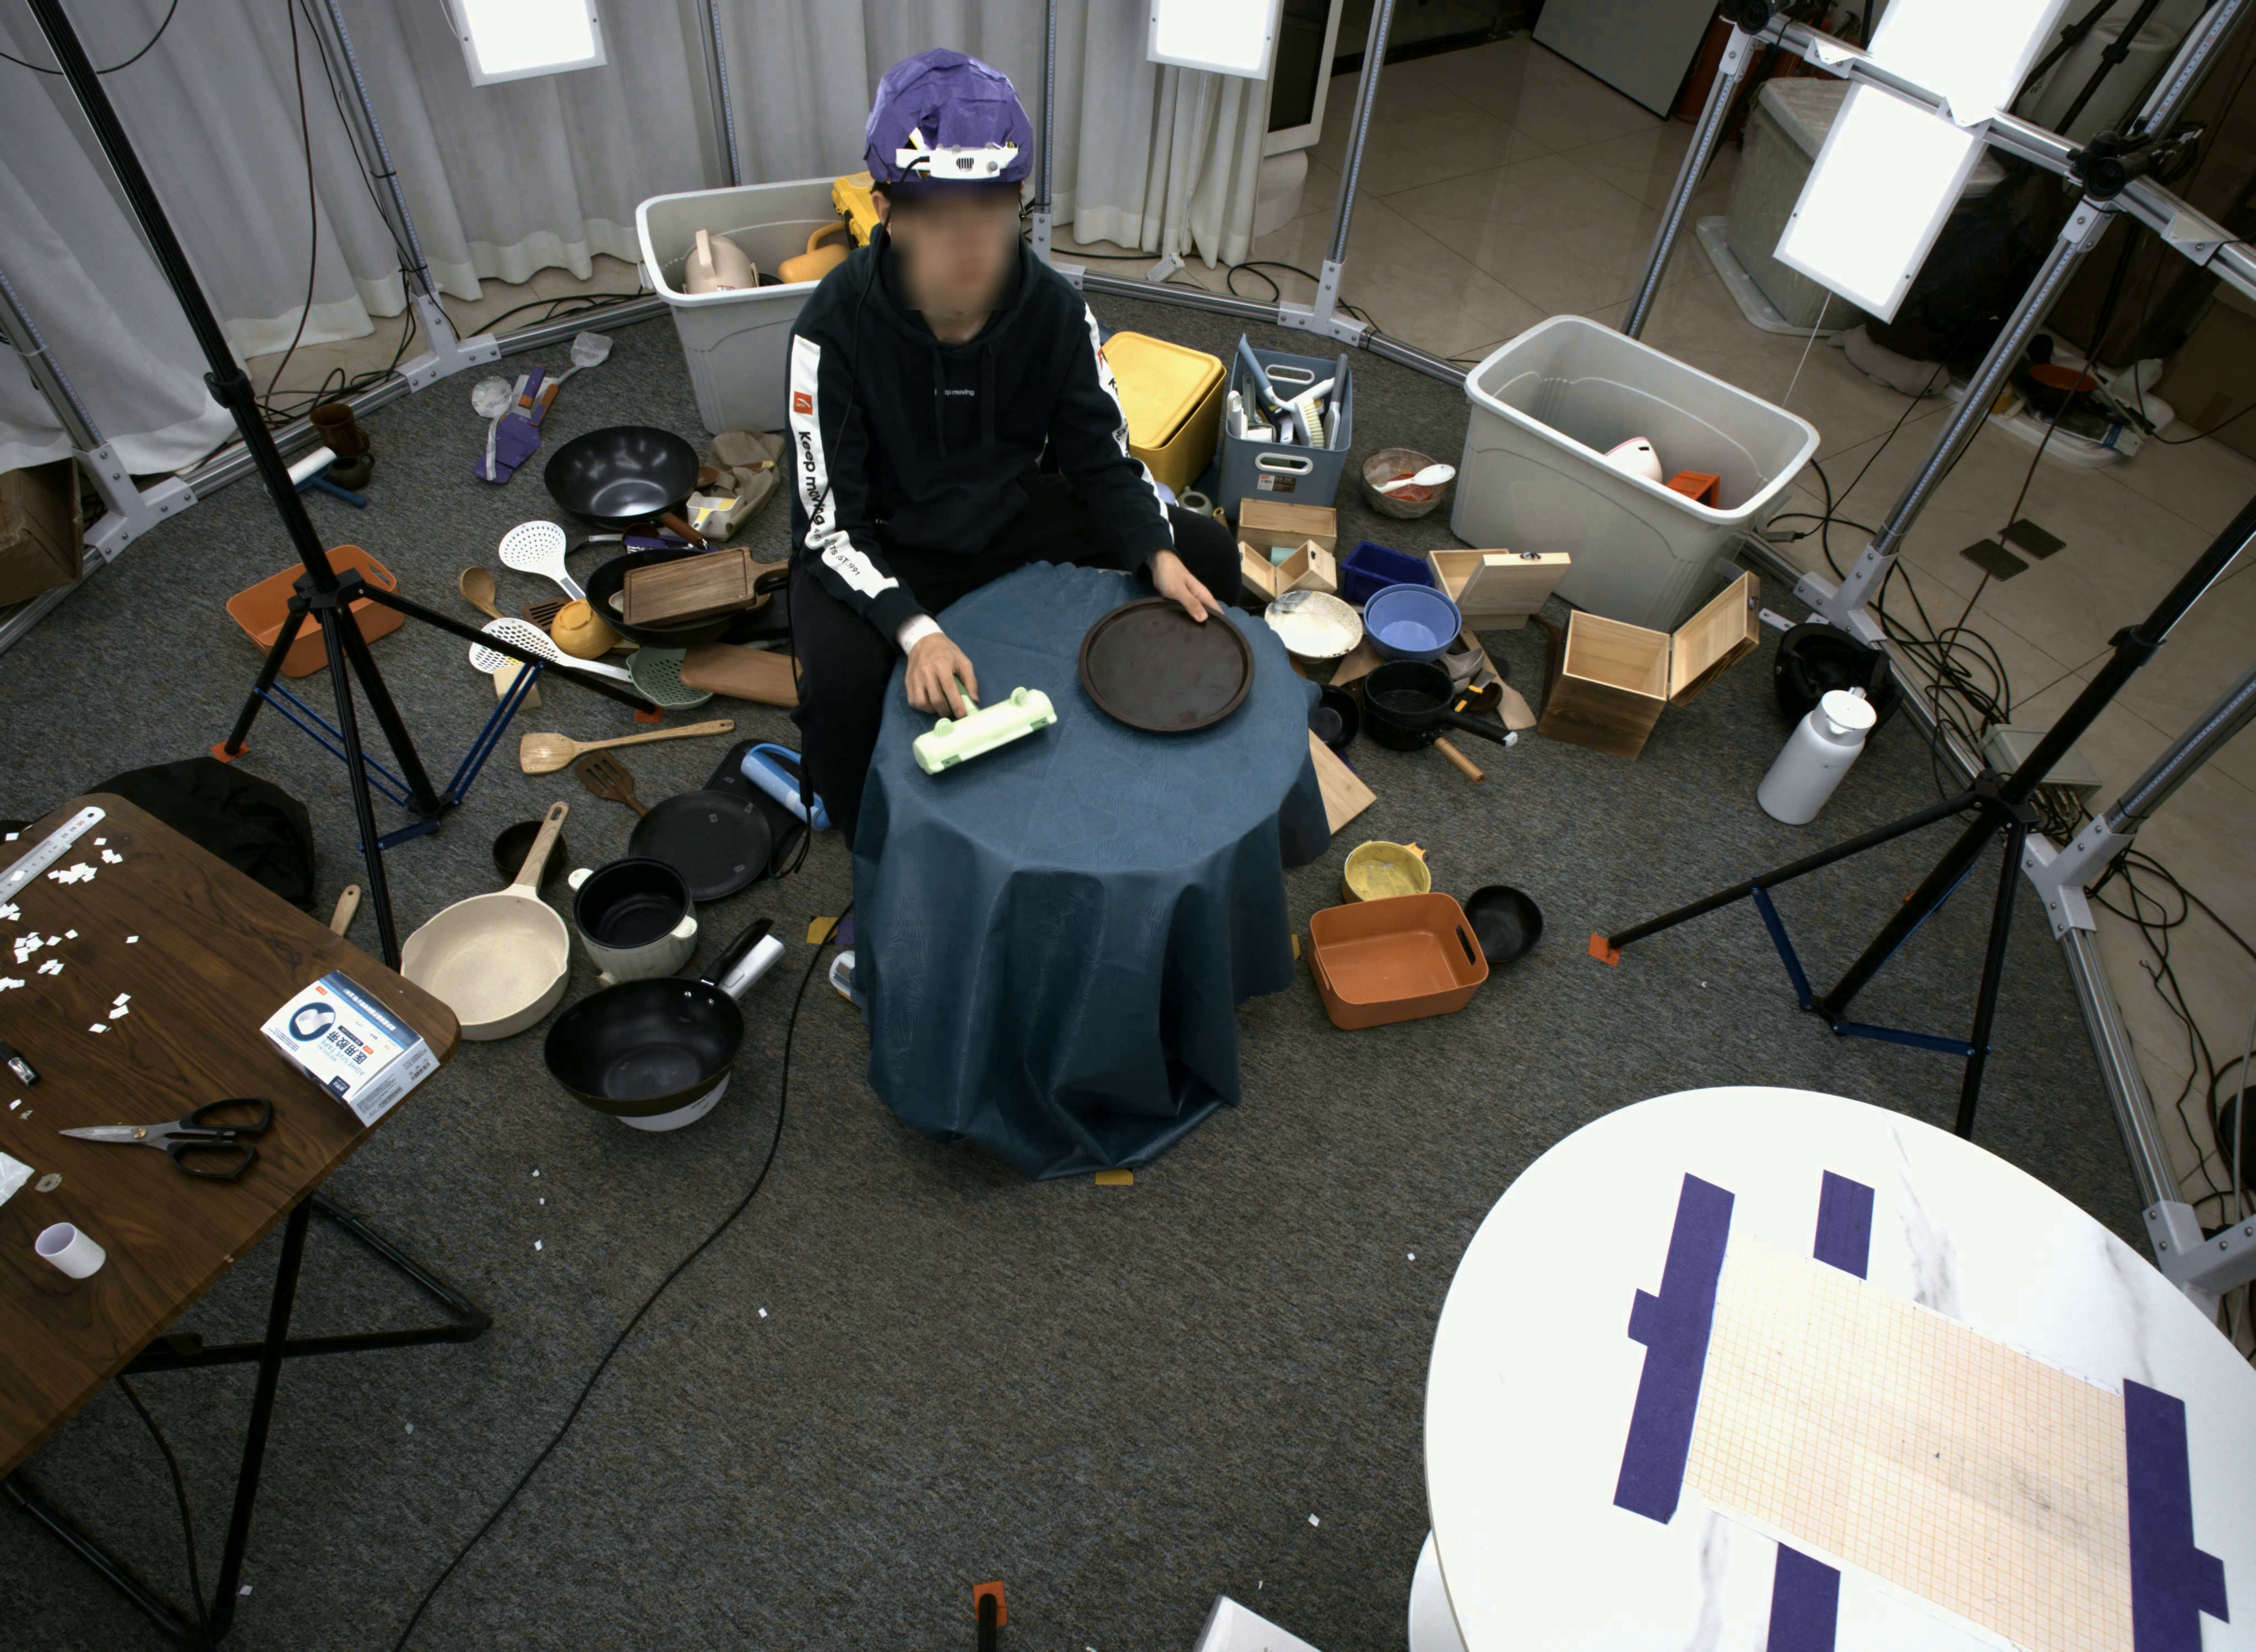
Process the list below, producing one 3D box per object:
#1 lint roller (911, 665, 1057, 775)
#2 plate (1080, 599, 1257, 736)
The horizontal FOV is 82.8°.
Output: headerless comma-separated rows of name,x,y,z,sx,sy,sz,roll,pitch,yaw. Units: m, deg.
lint roller,-0.222,-0.172,1.746,0.199,0.080,0.186,-25,62,-23
plate,0.057,-0.229,1.841,0.254,0.028,0.261,0,56,-1
